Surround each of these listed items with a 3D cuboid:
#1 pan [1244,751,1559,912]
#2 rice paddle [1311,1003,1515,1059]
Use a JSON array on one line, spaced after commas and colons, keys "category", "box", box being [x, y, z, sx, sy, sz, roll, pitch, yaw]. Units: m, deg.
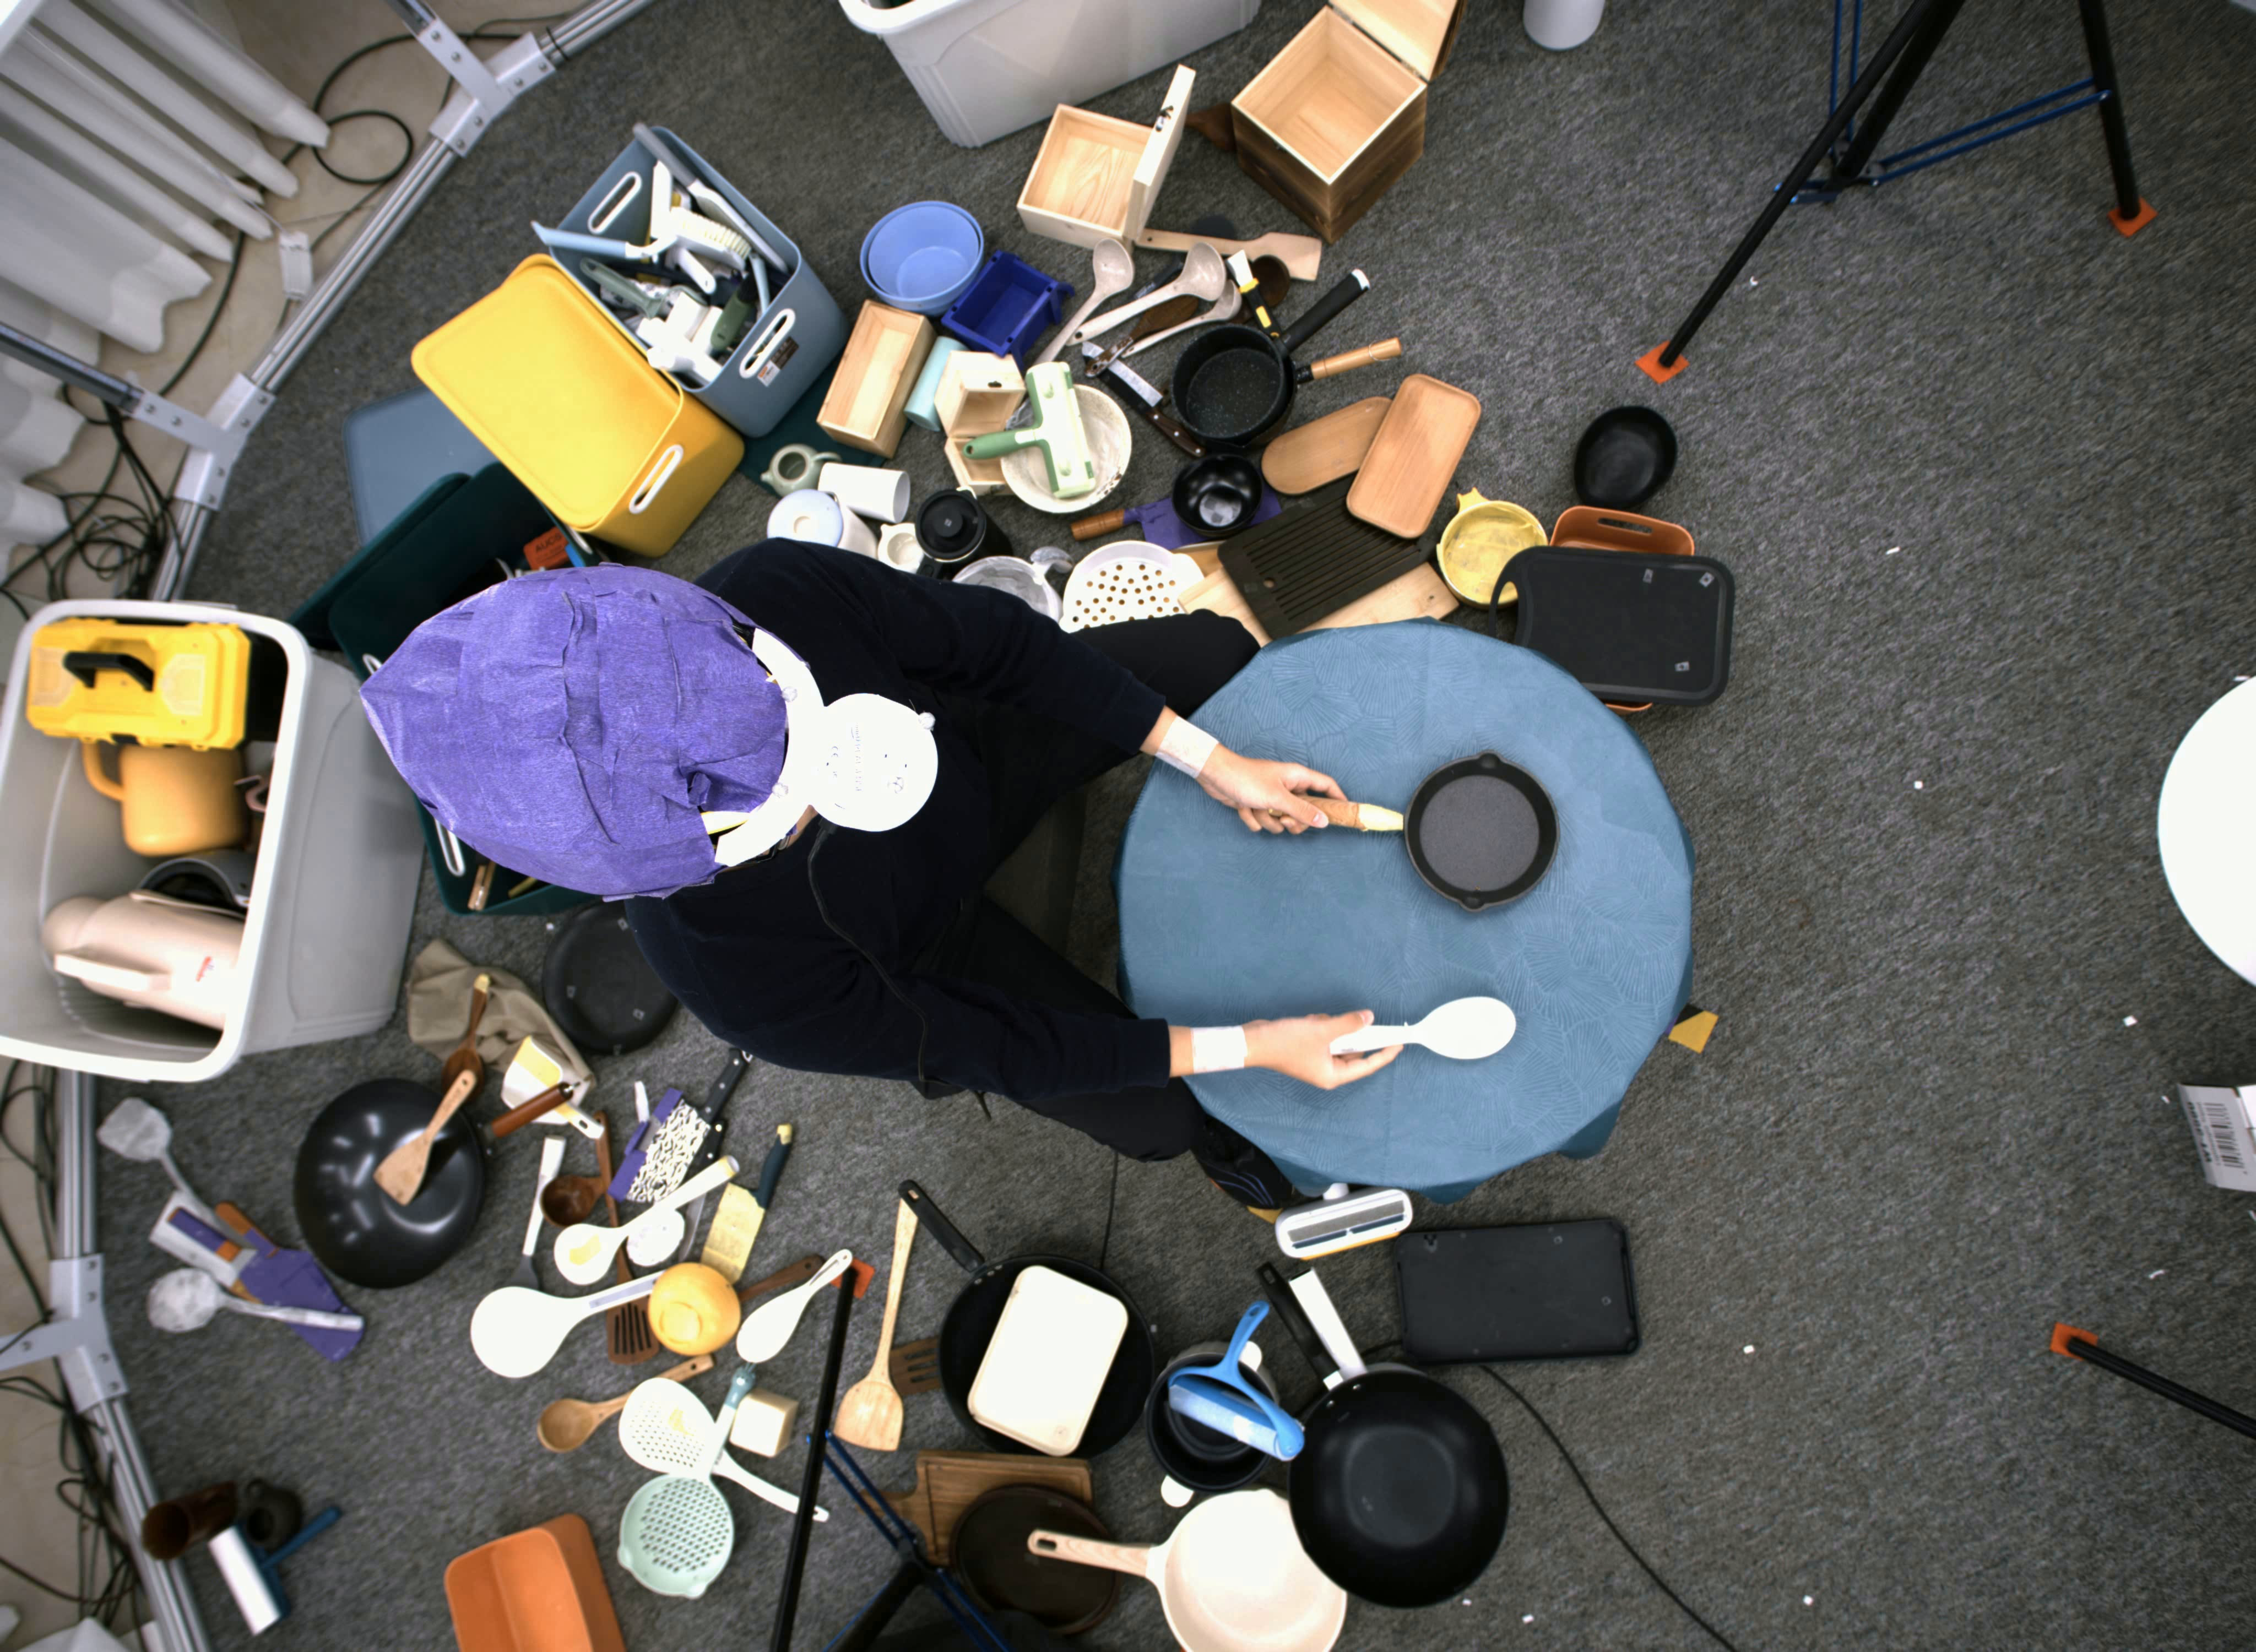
[{"category": "pan", "box": [0.282, -0.009, 1.436, 0.325, 0.049, 0.168, 9, 88, 9]}, {"category": "rice paddle", "box": [0.289, 0.210, 1.398, 0.206, 0.029, 0.070, -6, 122, 6]}]
